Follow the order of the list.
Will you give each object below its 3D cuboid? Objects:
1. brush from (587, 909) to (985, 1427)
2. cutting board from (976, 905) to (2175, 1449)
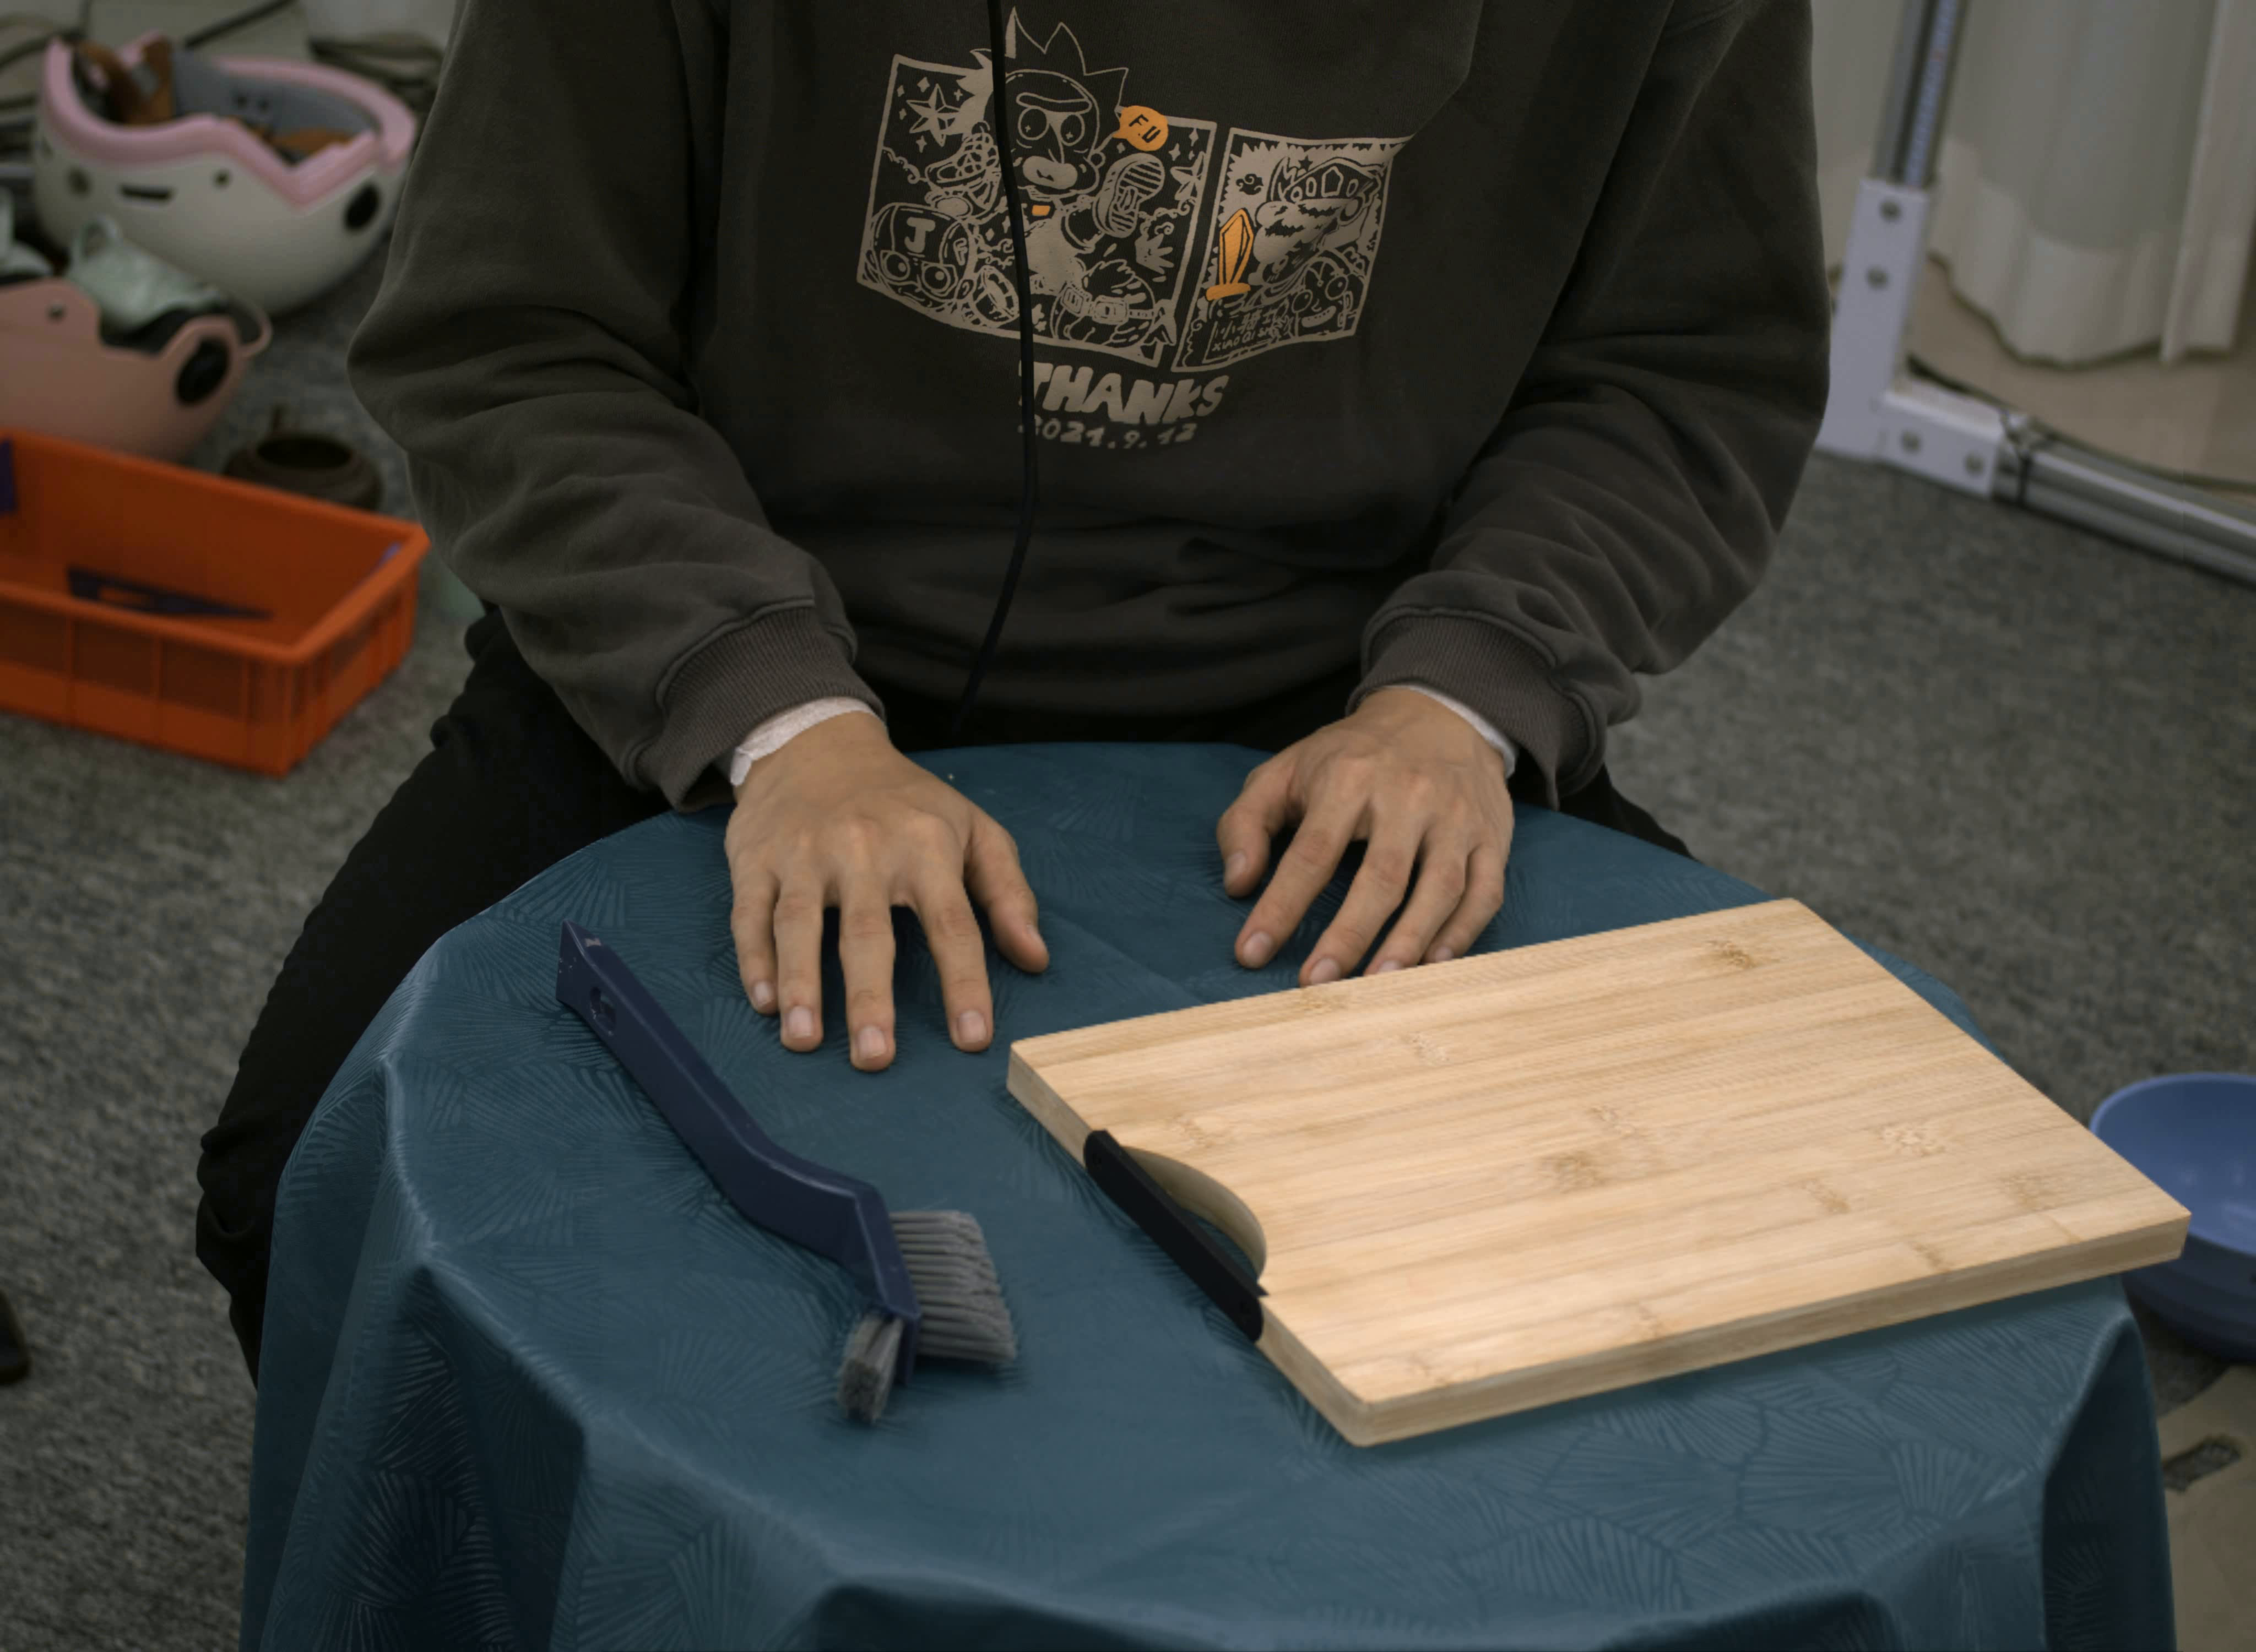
[{"bbox_3d":[-0.134,0.109,1.769,0.095,0.033,0.275,-13,34,-34],"label":"brush"},{"bbox_3d":[0.156,0.114,1.840,0.346,0.023,0.253,-9,30,-29],"label":"cutting board"}]
